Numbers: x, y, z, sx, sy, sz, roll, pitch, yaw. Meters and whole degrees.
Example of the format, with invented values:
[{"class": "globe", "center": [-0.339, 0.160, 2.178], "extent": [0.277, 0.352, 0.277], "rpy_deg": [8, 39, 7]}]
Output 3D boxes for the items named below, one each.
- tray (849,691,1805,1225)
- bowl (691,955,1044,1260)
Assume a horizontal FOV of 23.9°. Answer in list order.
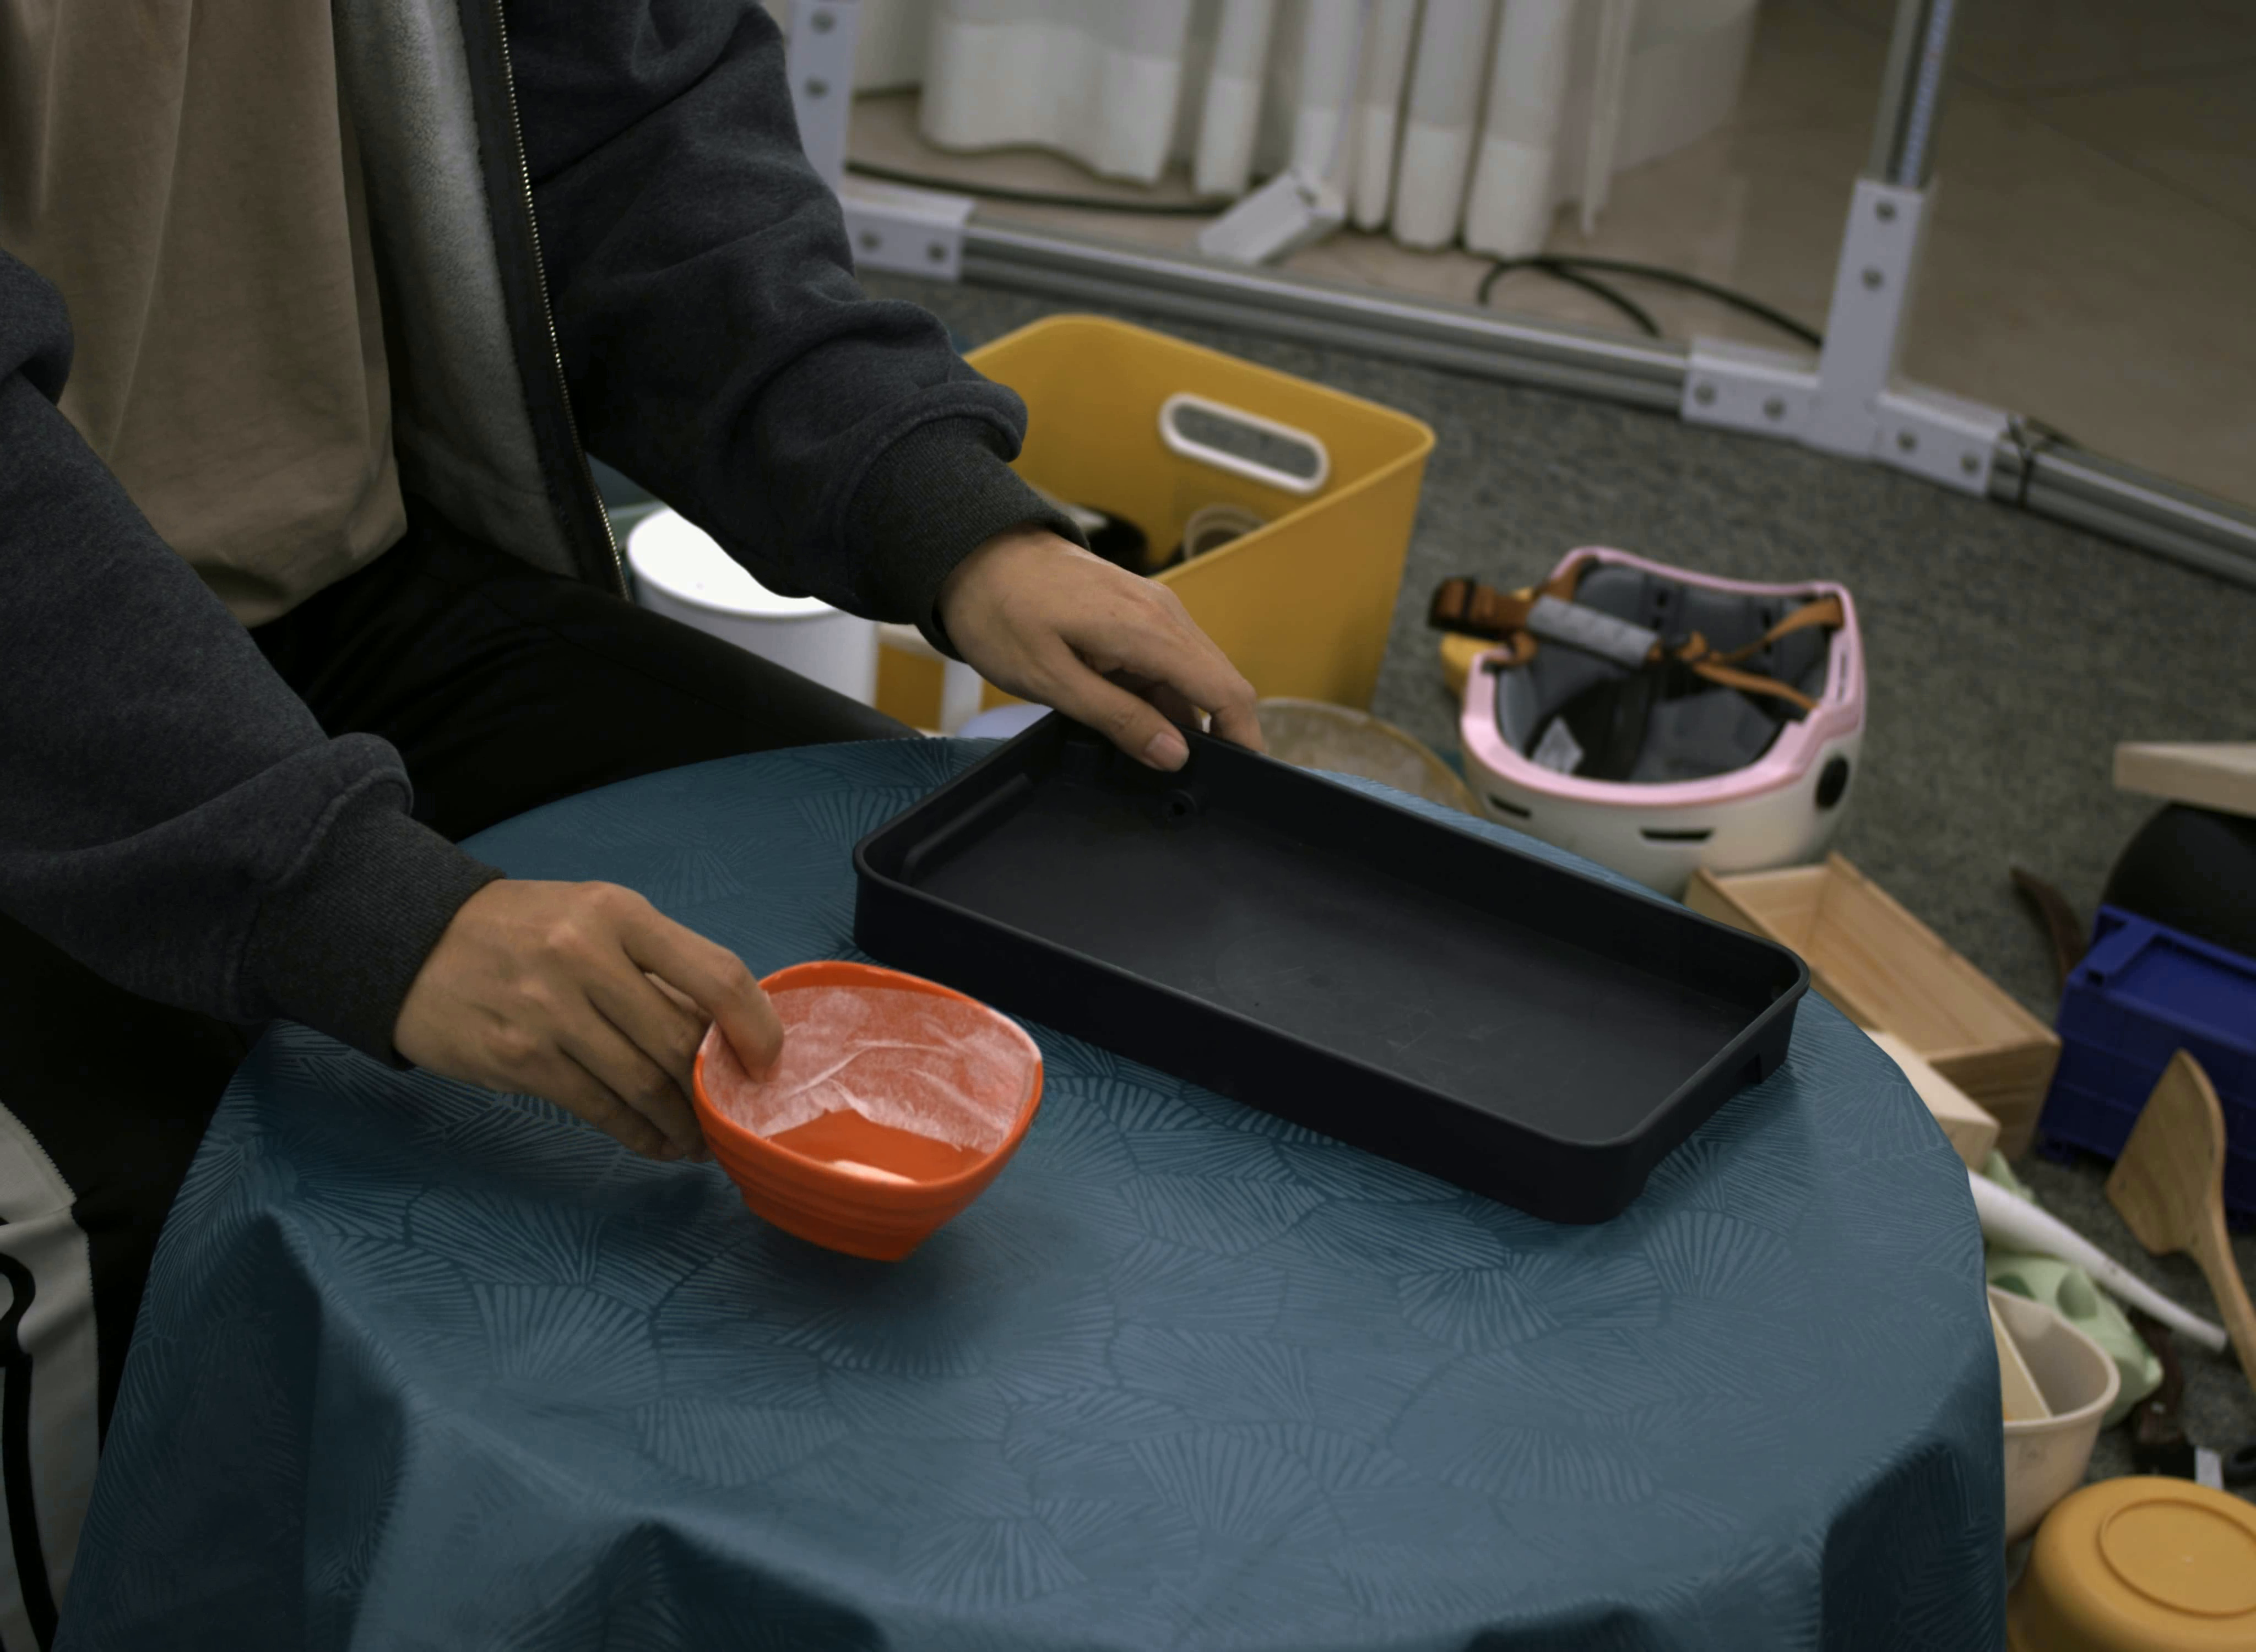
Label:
[{"class": "tray", "center": [0.070, 0.043, 1.930], "extent": [0.319, 0.037, 0.184], "rpy_deg": [21, 30, 24]}, {"class": "bowl", "center": [-0.088, 0.098, 1.742], "extent": [0.118, 0.051, 0.120], "rpy_deg": [7, 36, -6]}]
